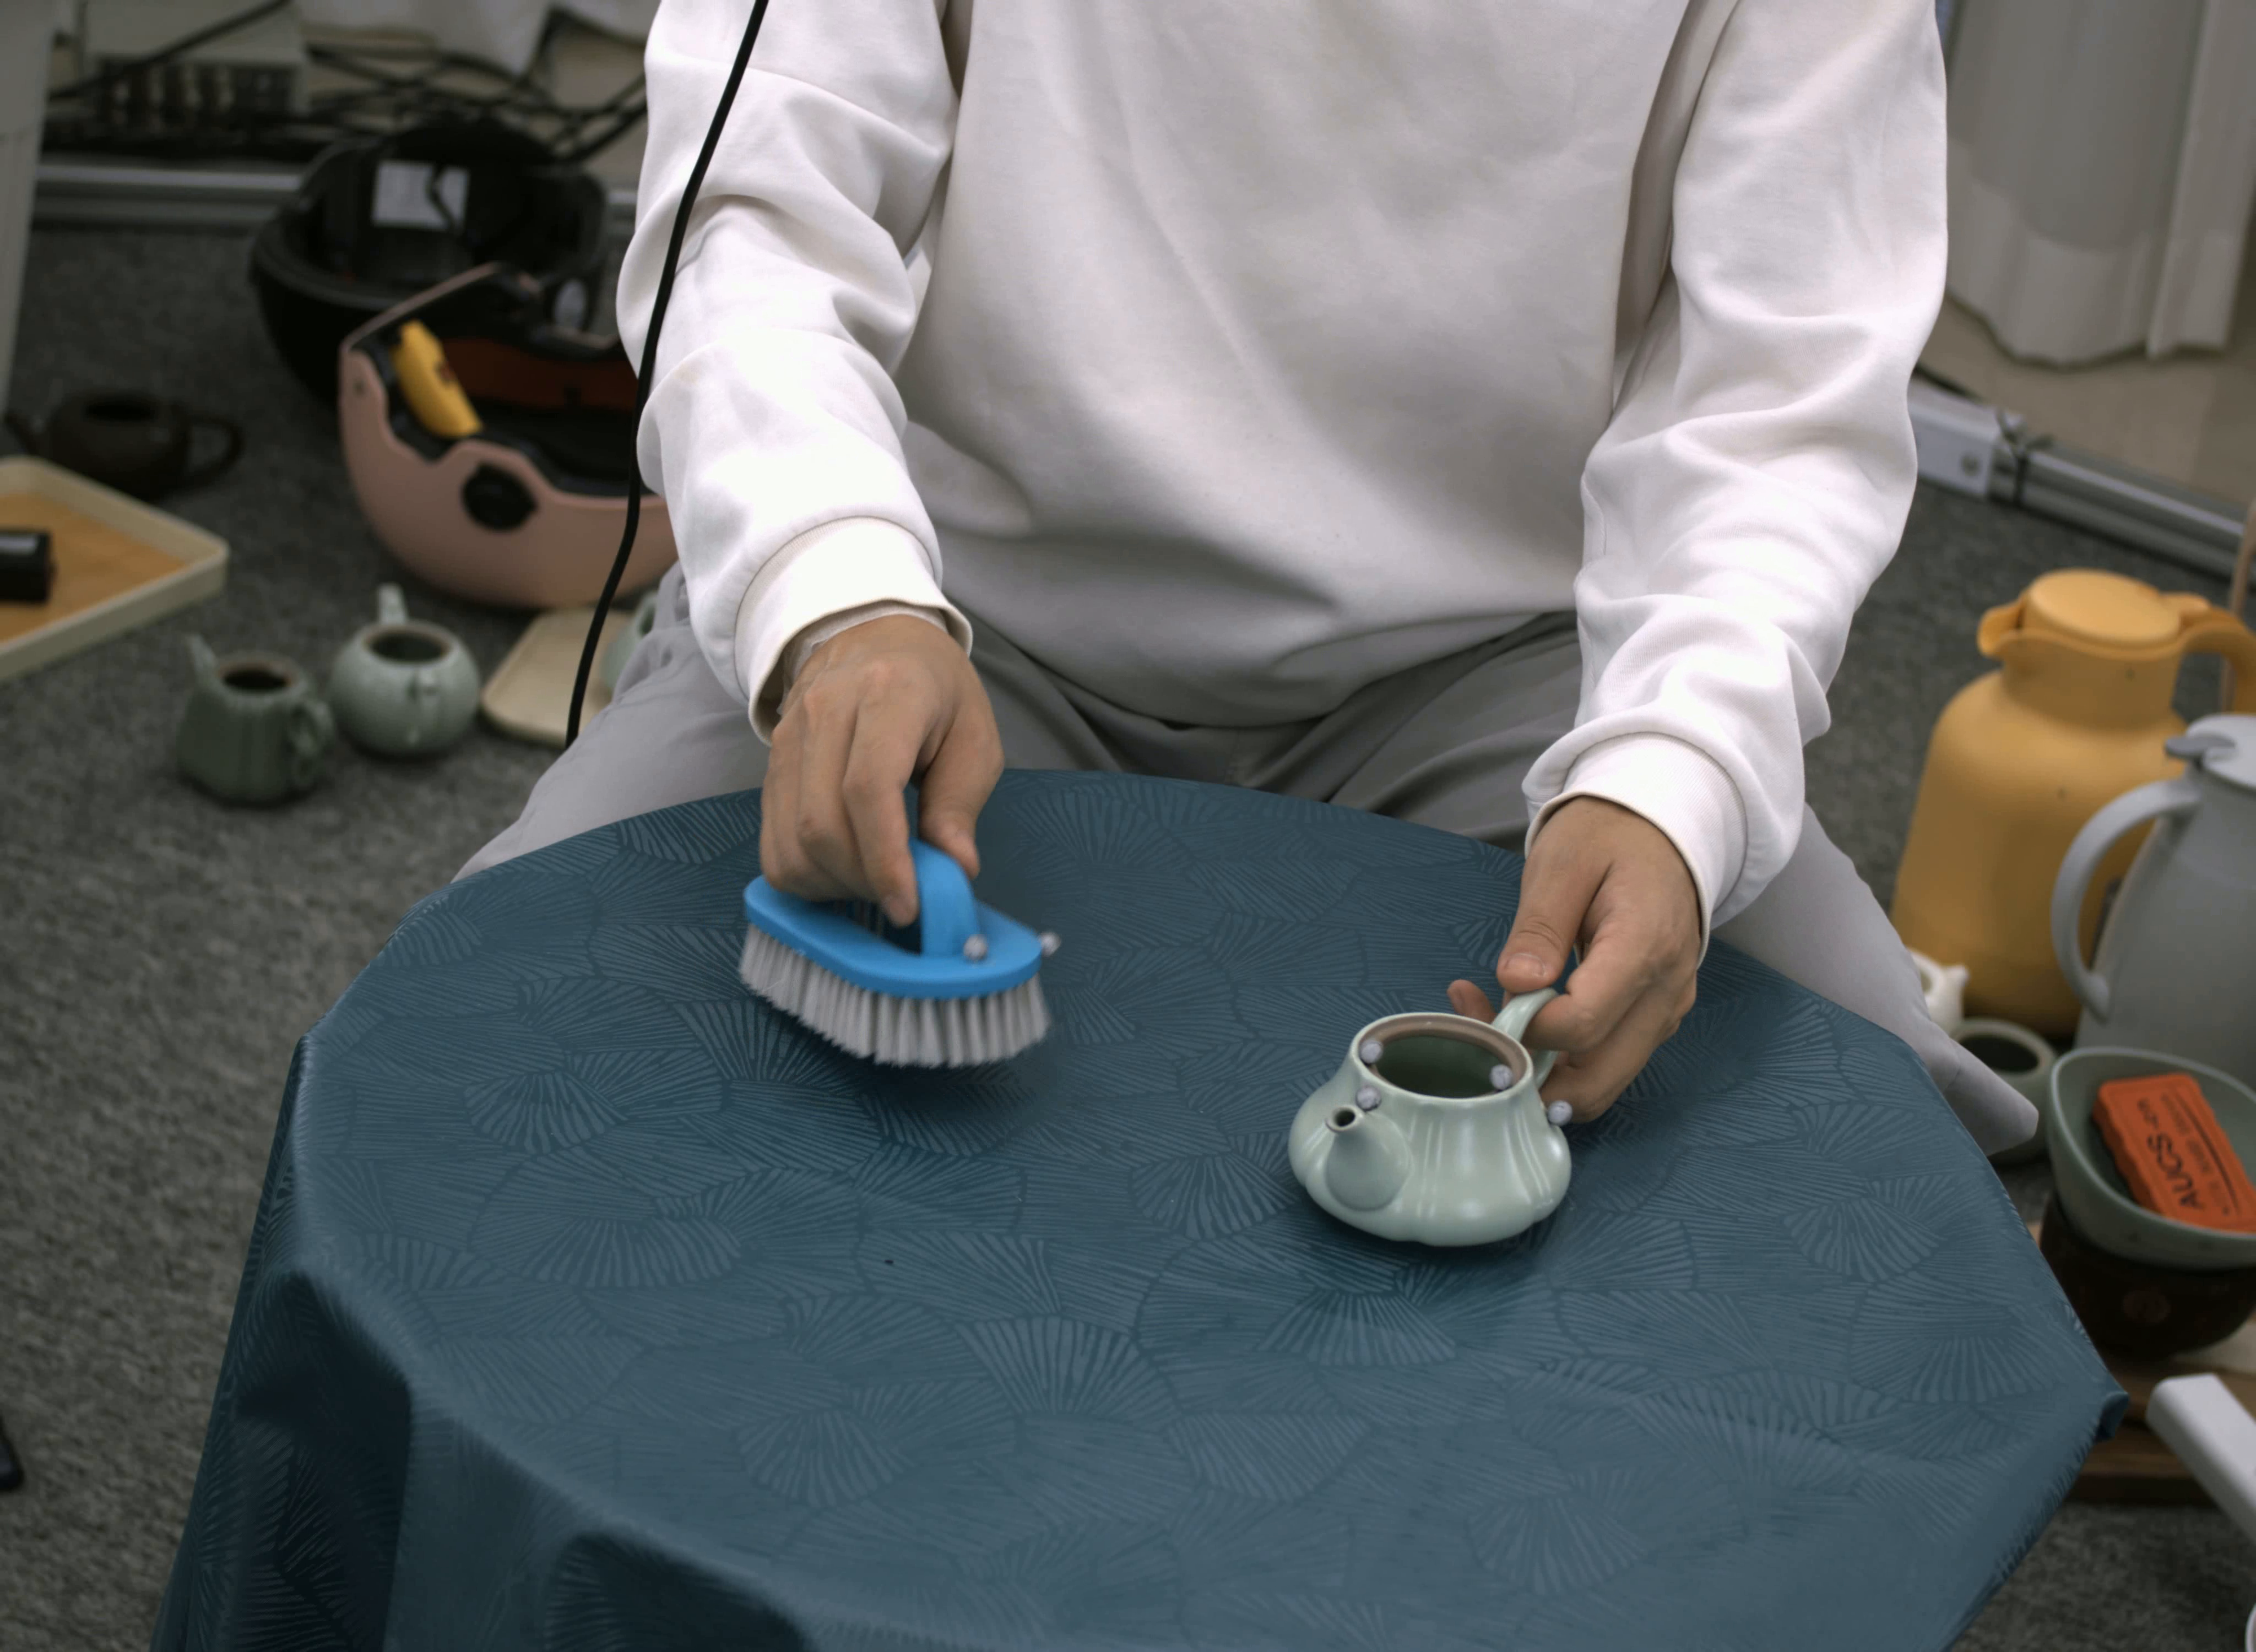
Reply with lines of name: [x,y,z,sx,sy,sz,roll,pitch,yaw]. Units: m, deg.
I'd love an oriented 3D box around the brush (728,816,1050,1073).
brush: [-0.087,0.035,1.868,0.084,0.063,0.143,-15,23,-28]

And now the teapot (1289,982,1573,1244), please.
teapot: [0.107,0.100,1.811,0.097,0.061,0.136,20,31,30]
